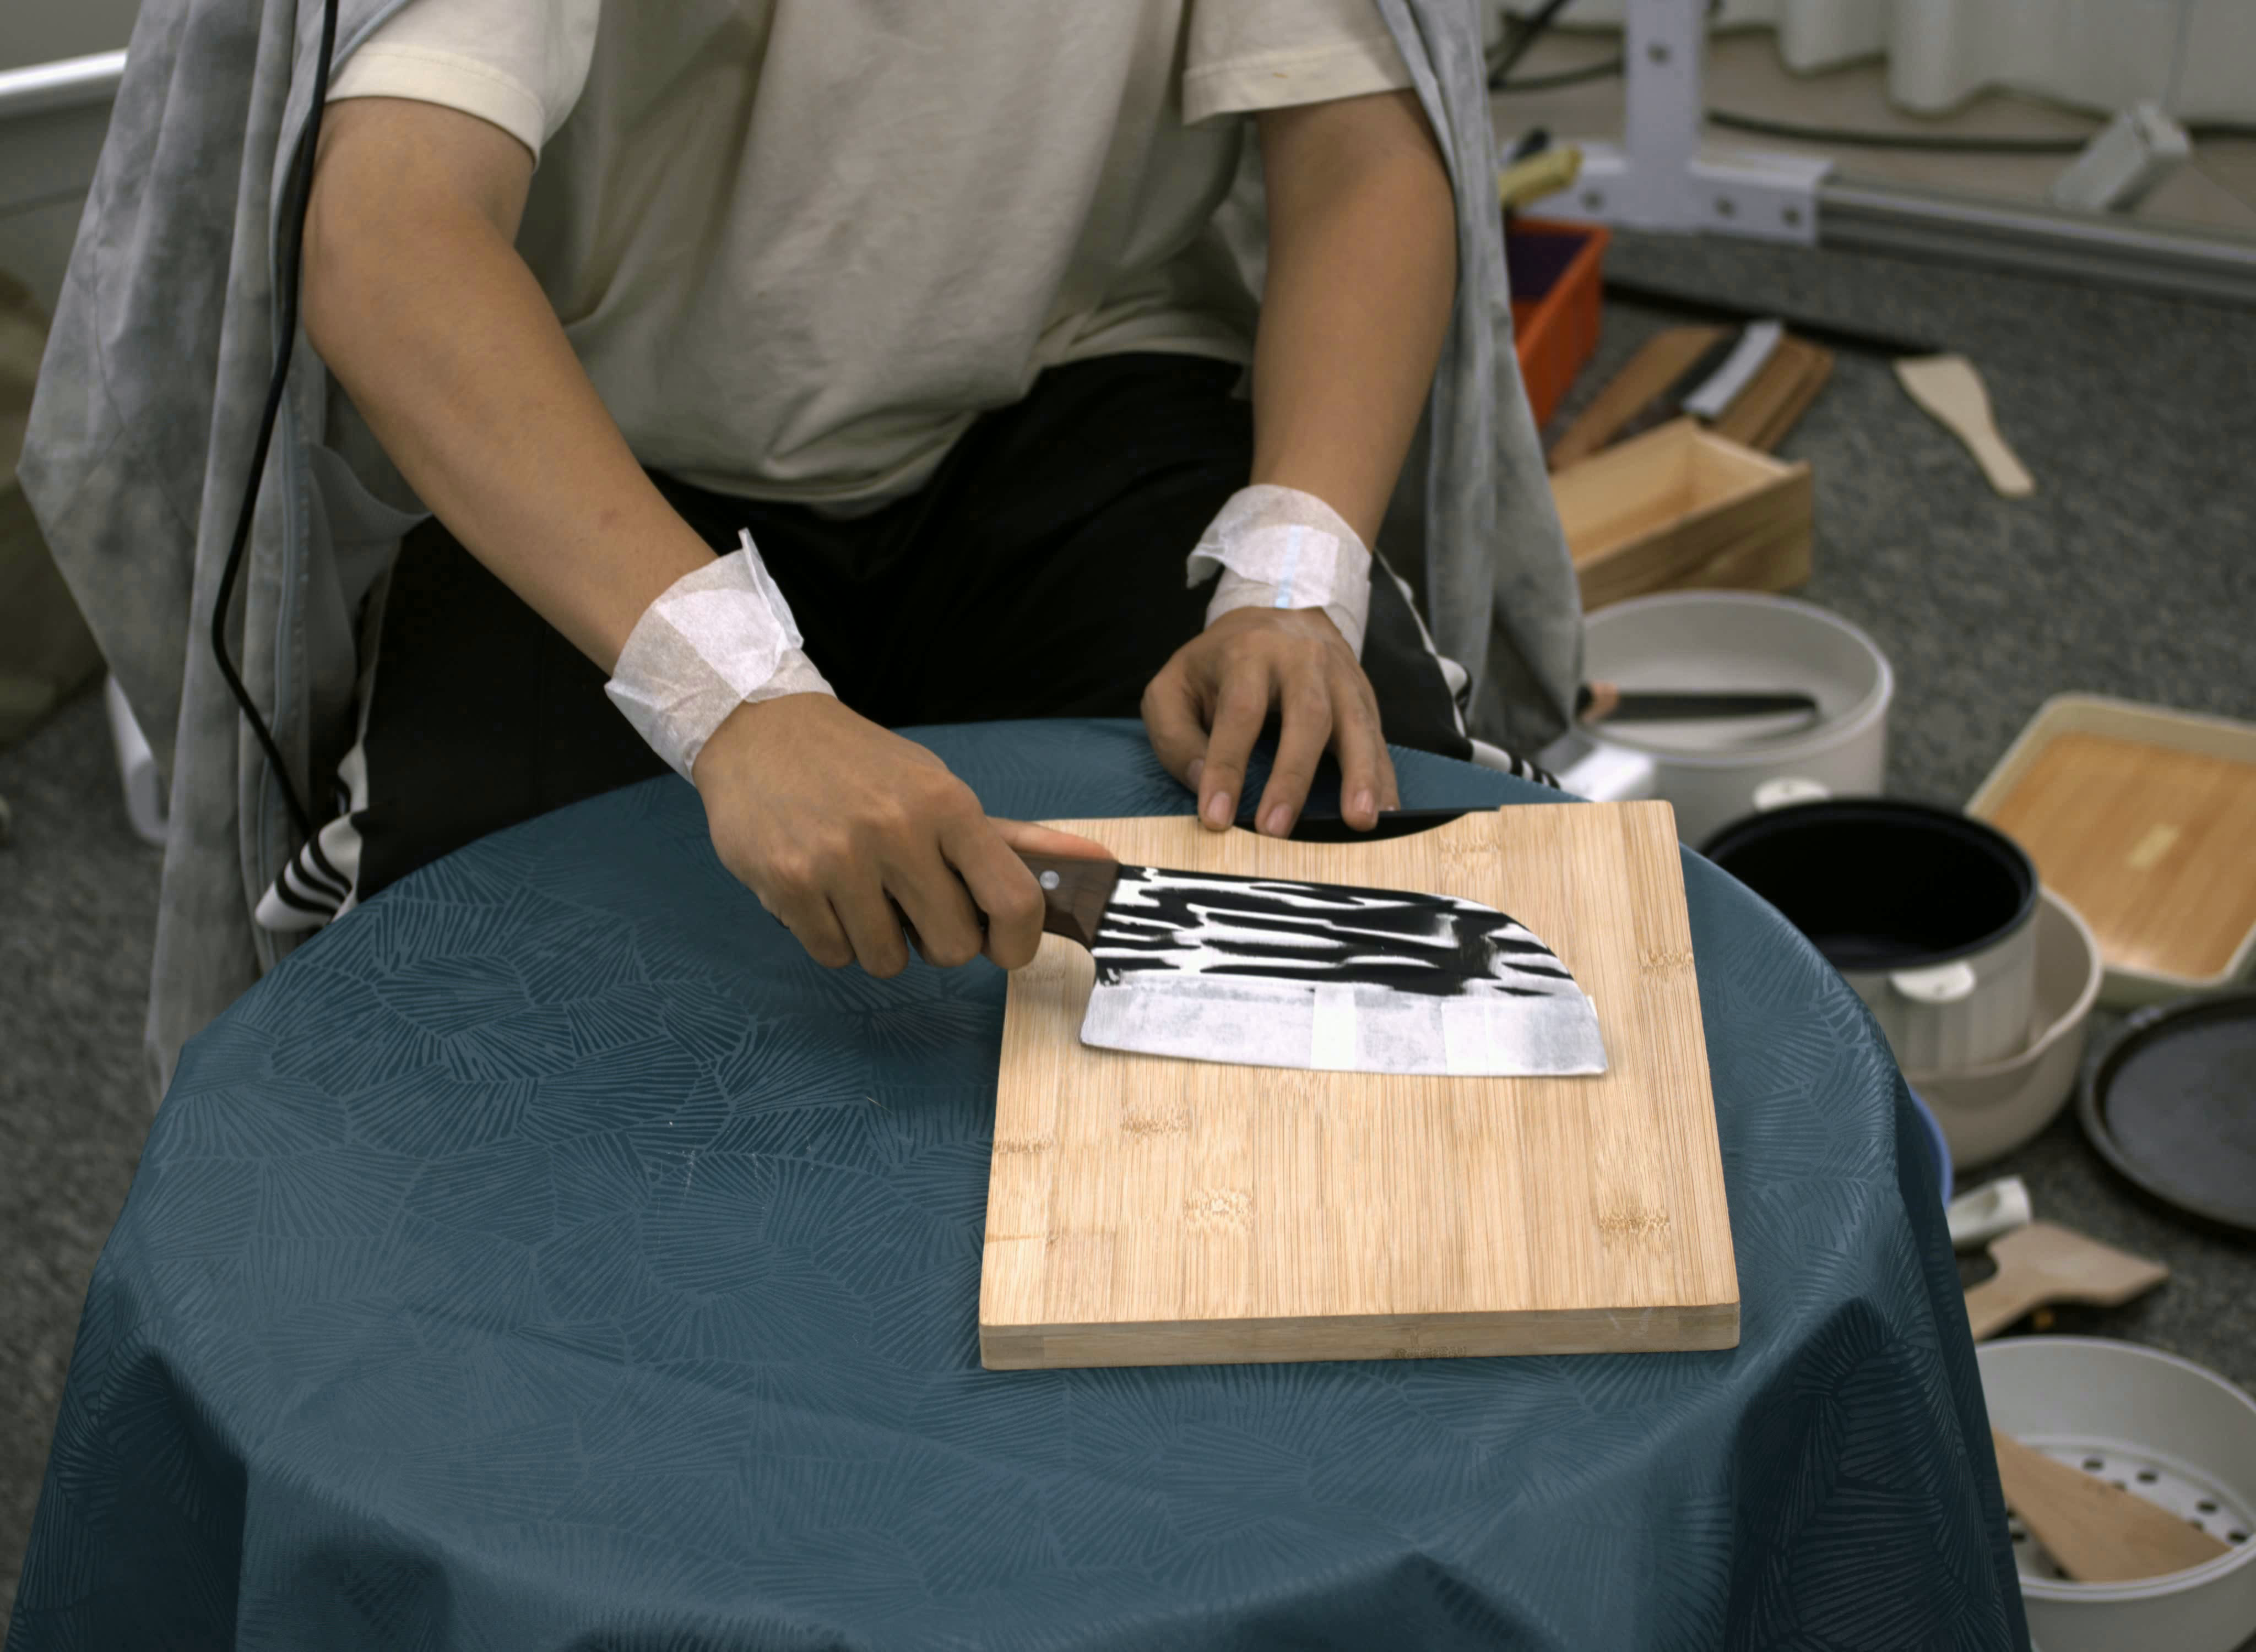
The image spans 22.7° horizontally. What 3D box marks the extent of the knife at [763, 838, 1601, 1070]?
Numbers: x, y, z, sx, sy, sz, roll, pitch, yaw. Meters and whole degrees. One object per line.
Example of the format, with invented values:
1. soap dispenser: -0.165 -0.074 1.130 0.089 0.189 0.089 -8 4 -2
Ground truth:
1. knife: 0.016 0.045 1.915 0.298 0.024 0.069 6 68 11

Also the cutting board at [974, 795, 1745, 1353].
1. cutting board: 0.077 0.080 1.916 0.249 0.023 0.354 -2 27 1
